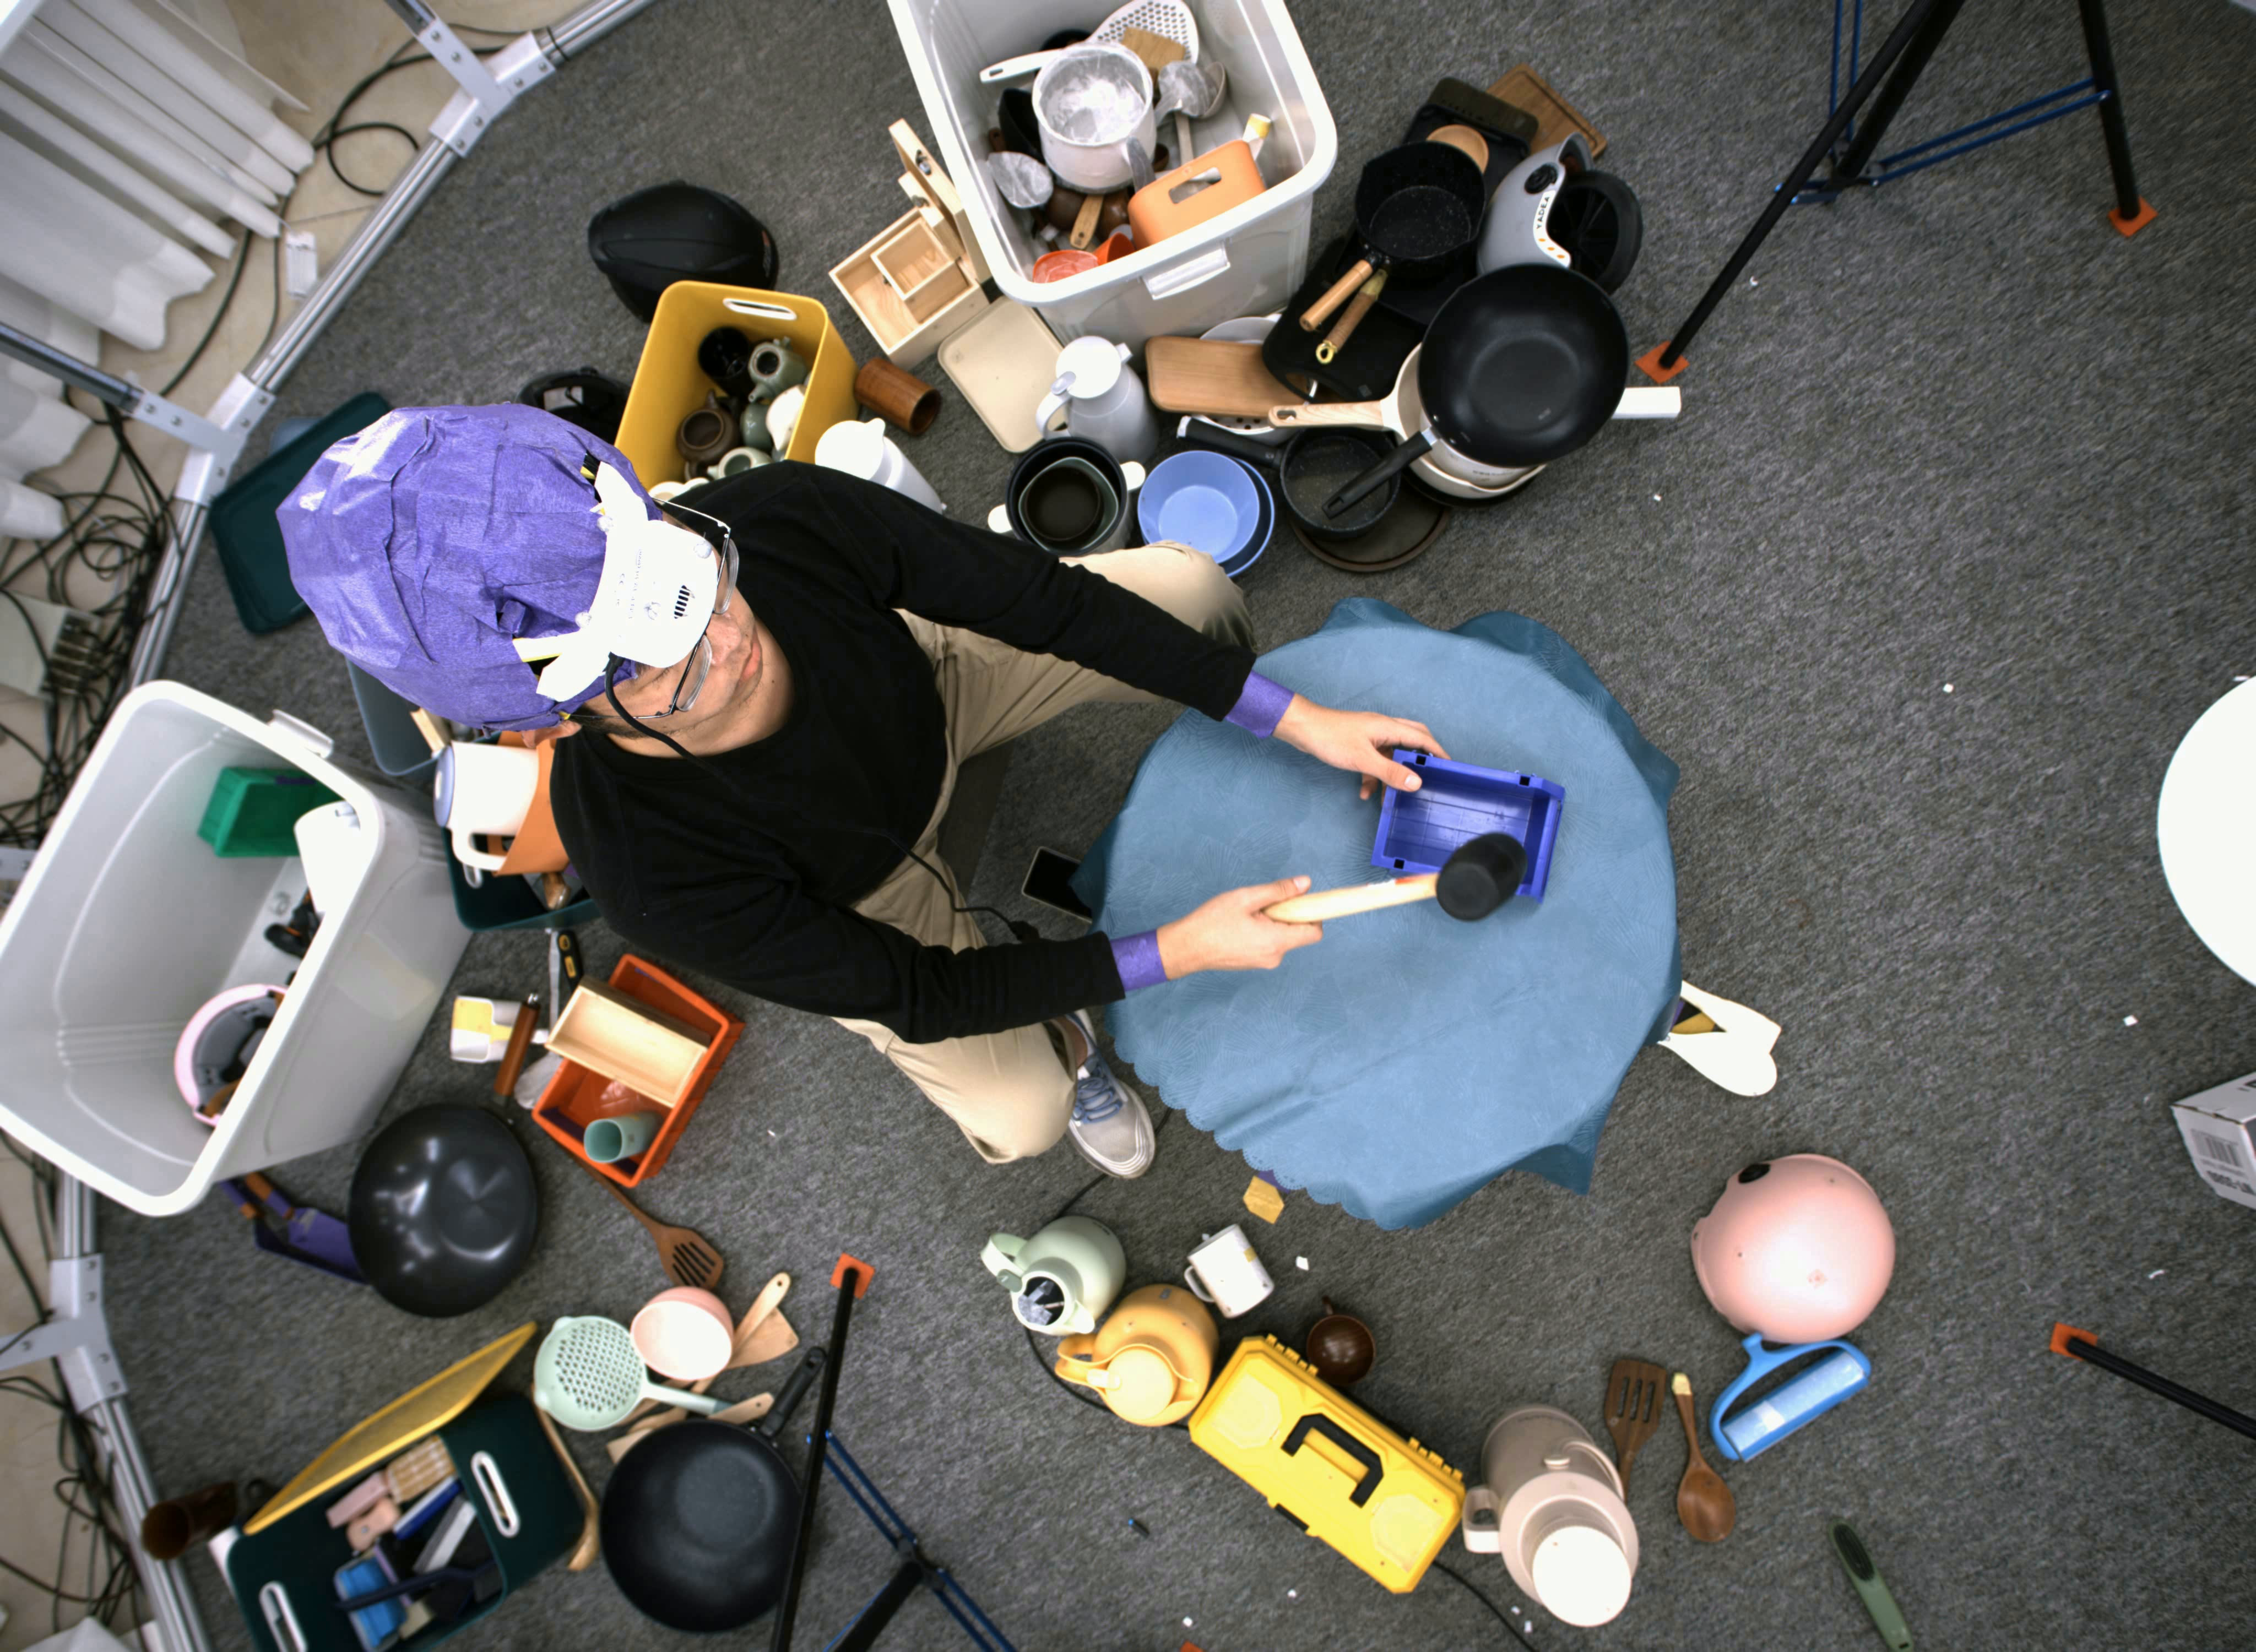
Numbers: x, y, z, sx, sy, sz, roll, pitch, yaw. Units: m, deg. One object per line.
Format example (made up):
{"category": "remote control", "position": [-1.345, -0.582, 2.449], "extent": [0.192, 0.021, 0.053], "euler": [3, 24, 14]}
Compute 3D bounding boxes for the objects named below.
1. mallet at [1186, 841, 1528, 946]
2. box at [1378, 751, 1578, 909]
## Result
{"category": "mallet", "position": [0.201, 0.068, 1.300], "extent": [0.343, 0.100, 0.064], "euler": [-9, 98, 34]}
{"category": "box", "position": [0.359, 0.001, 1.406], "extent": [0.179, 0.082, 0.124], "euler": [13, 89, 15]}
